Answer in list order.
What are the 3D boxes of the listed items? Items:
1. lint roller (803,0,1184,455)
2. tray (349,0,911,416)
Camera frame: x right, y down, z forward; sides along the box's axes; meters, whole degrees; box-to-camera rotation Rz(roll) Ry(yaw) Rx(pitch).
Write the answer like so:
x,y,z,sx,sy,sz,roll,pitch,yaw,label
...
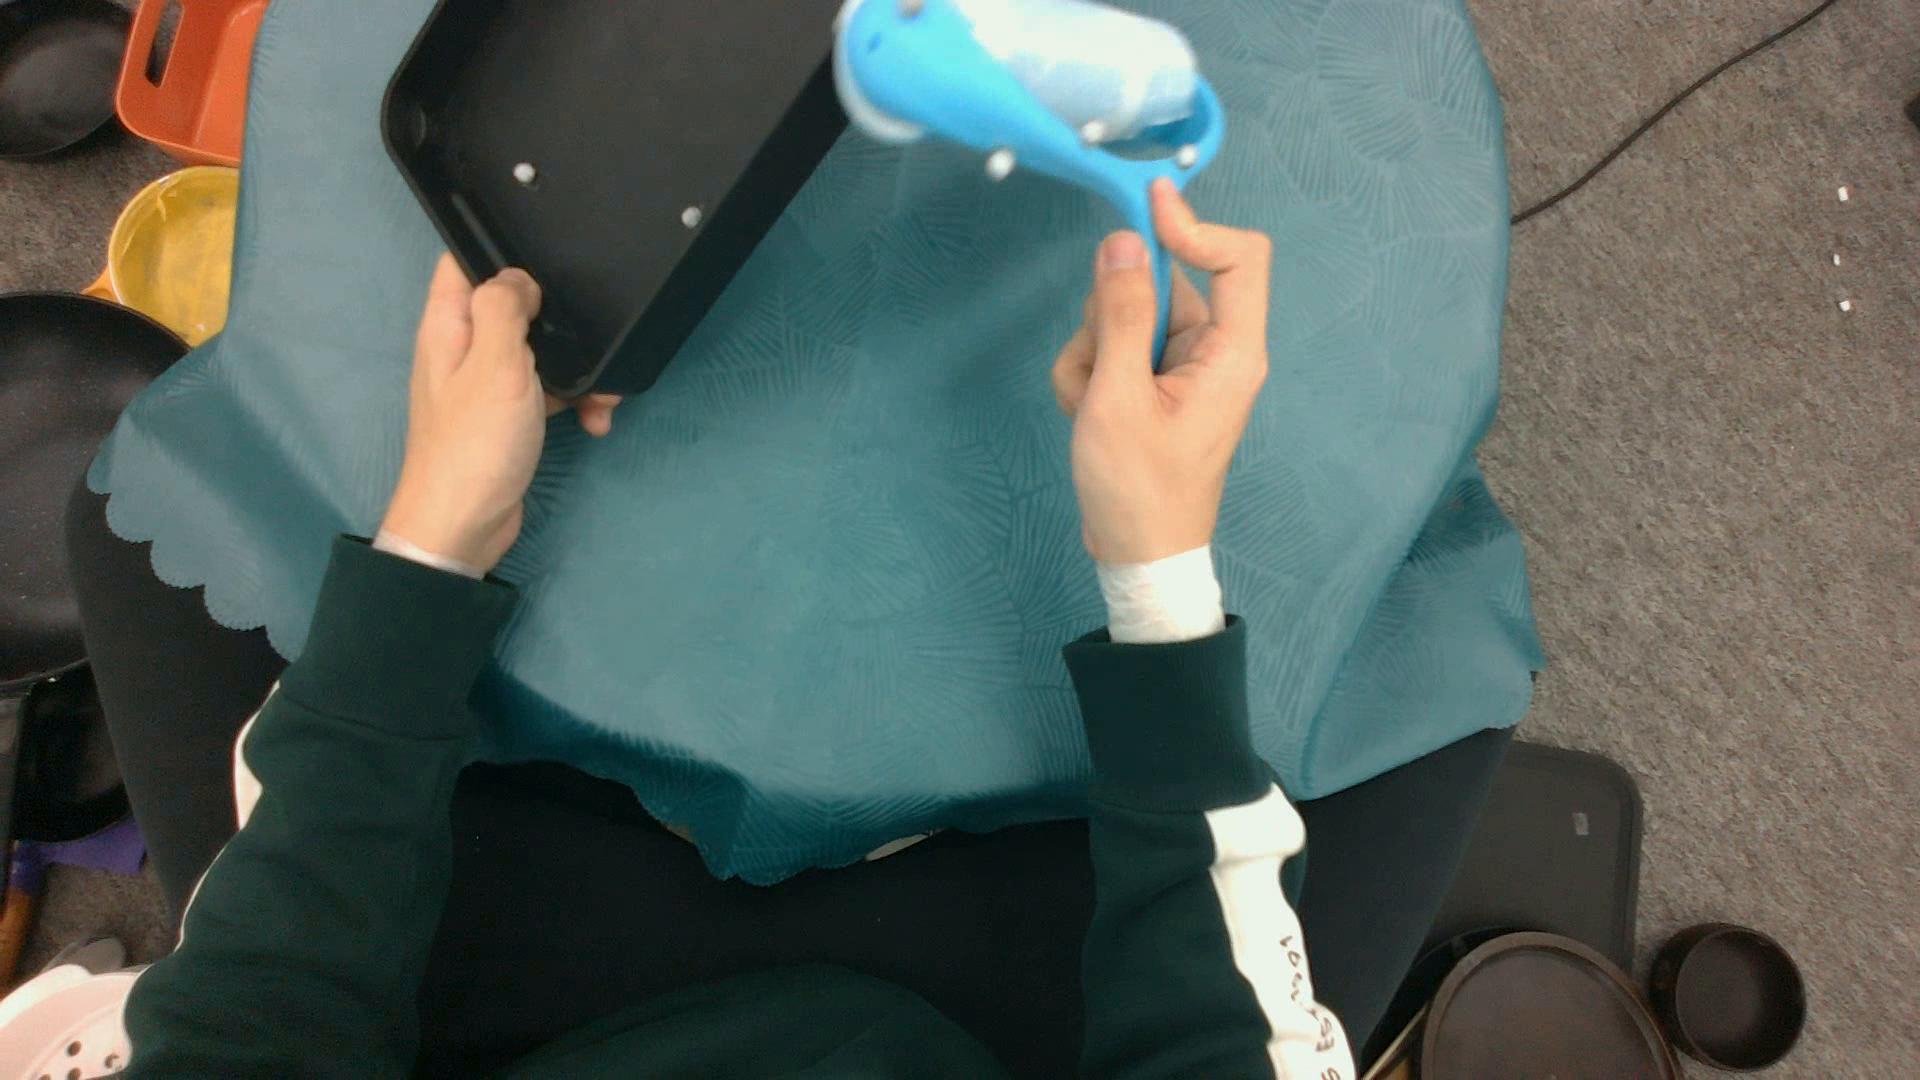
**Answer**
x,y,z,sx,sy,sz,roll,pitch,yaw,label
0.039,-0.126,0.530,0.067,0.230,0.180,-19,97,31,lint roller
-0.115,-0.216,0.530,0.317,0.037,0.184,-48,69,22,tray
